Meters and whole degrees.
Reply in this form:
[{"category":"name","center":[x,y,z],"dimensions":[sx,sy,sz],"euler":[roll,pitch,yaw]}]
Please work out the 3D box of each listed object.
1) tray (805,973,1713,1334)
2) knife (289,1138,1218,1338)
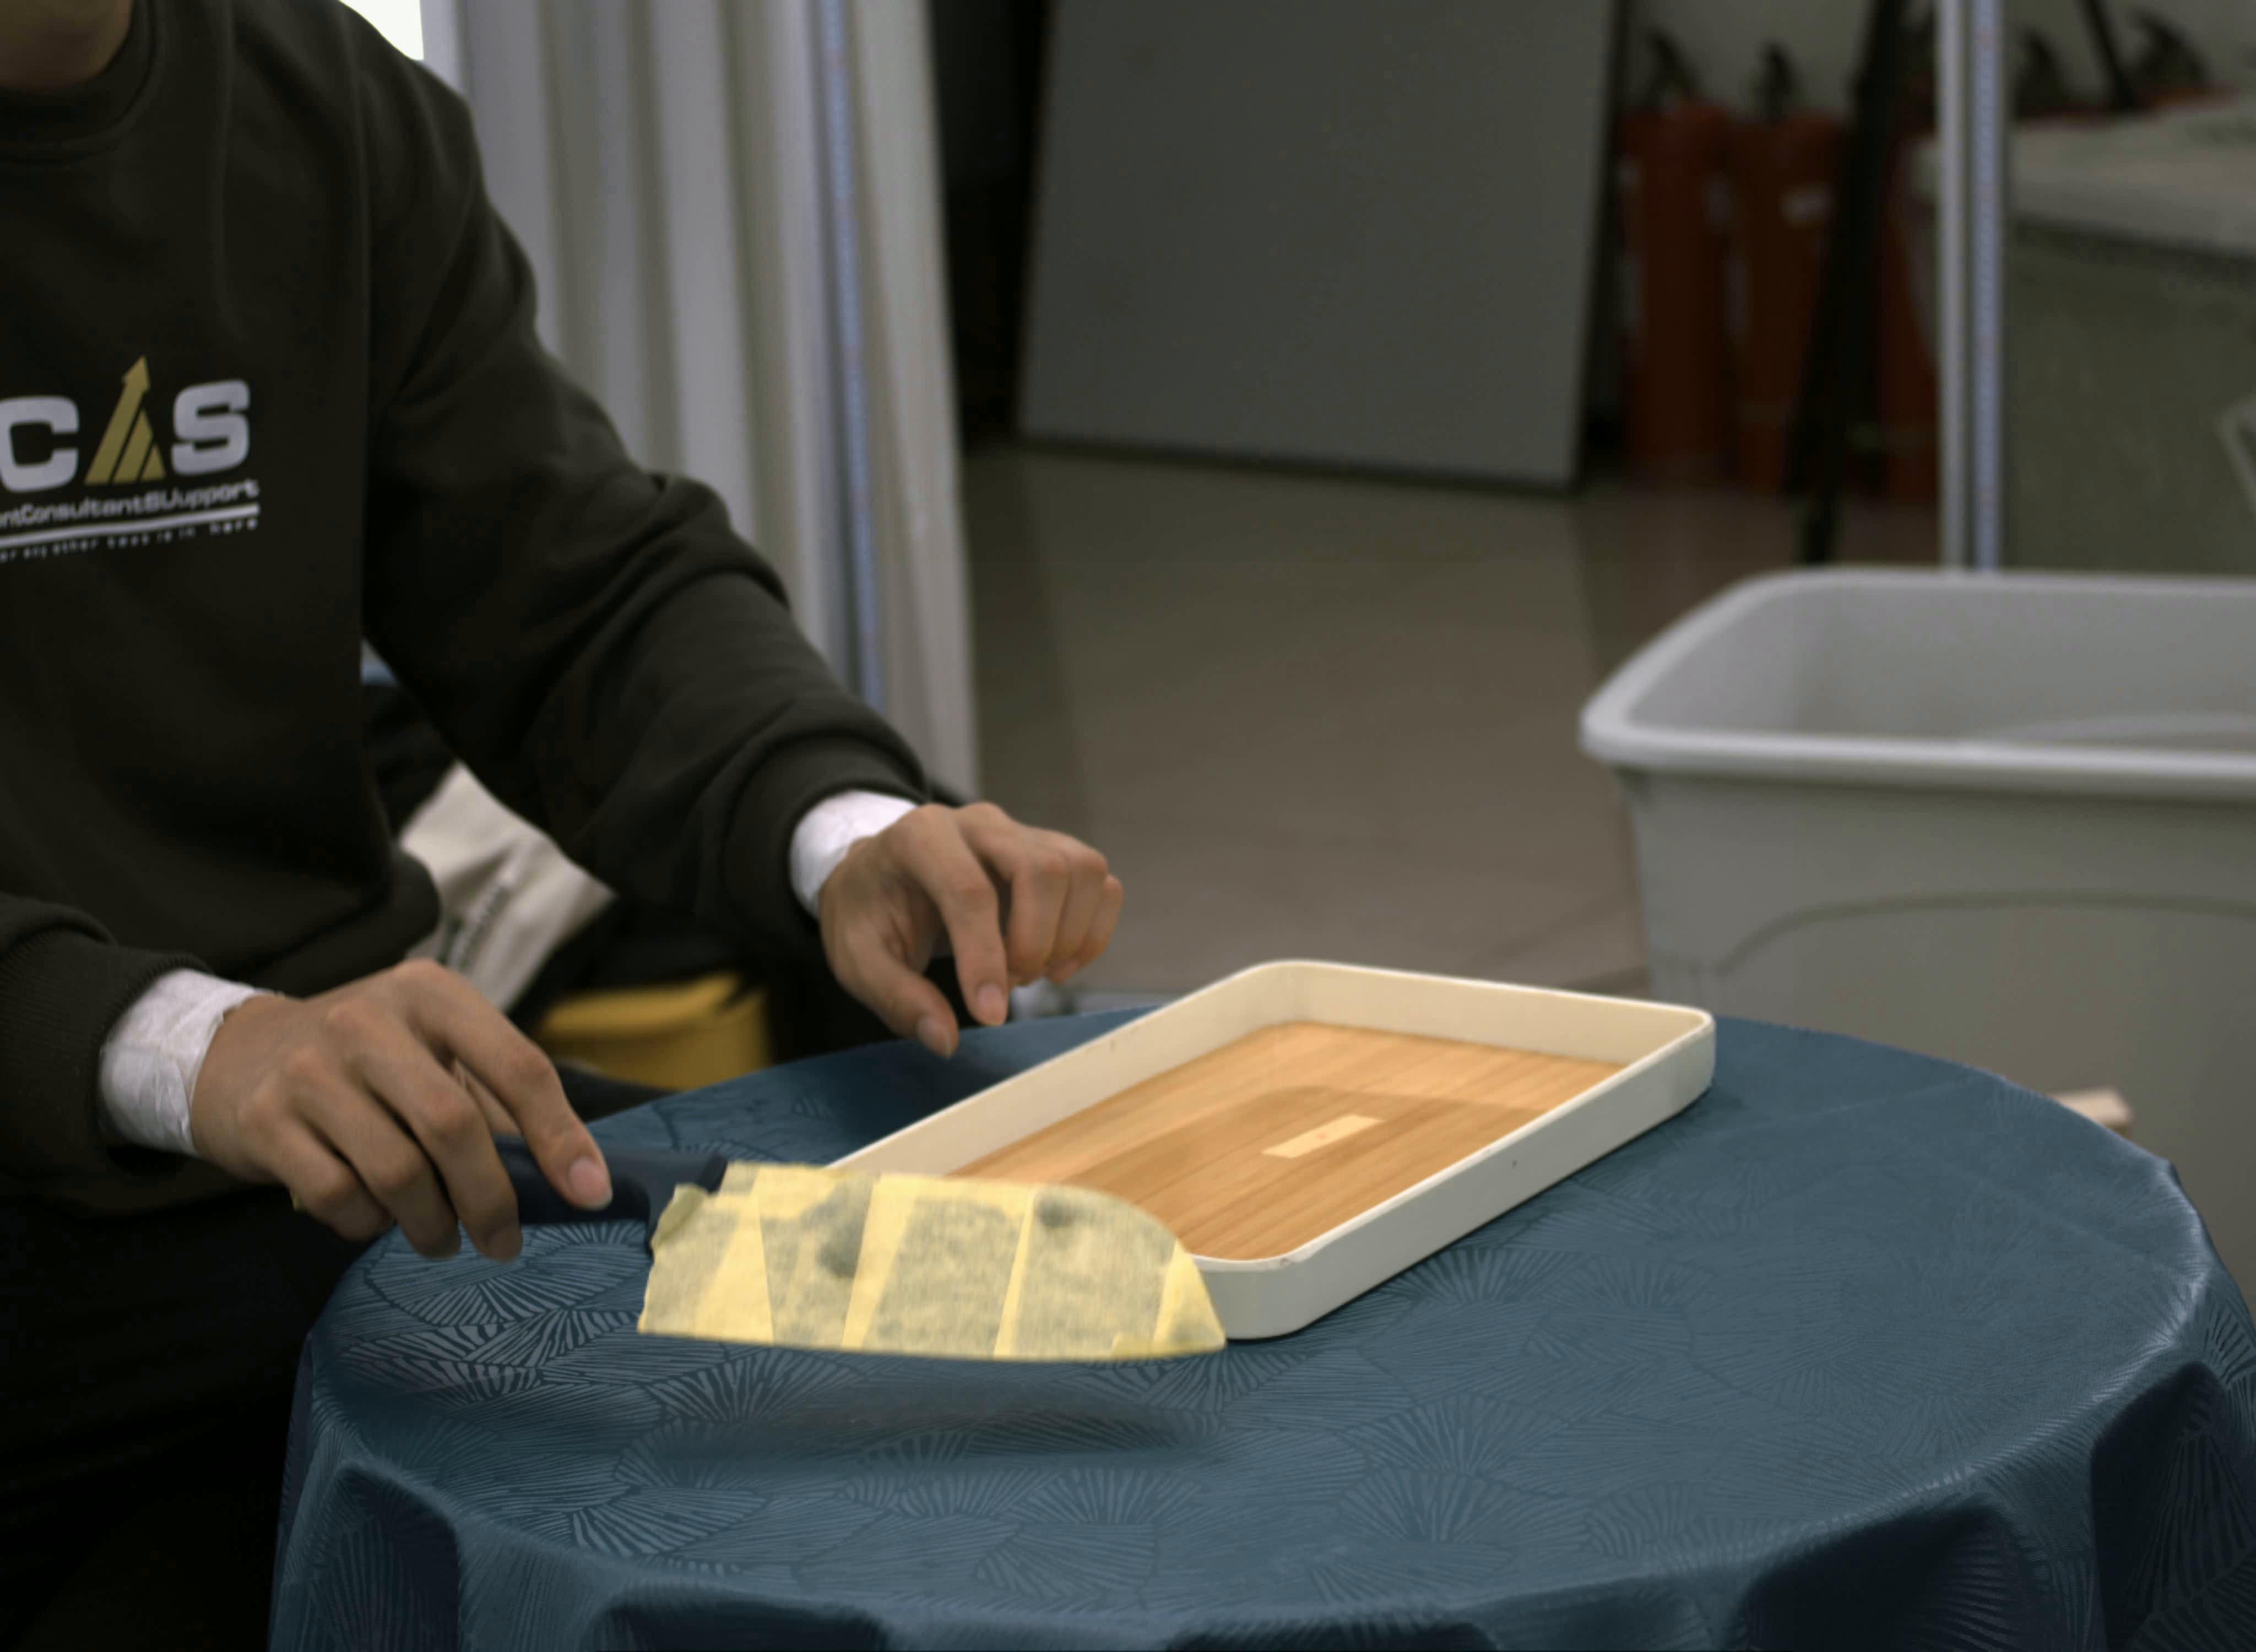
[{"category":"tray","center":[0.047,0.104,1.779],"dimensions":[0.193,0.028,0.295],"euler":[4,15,35]},{"category":"knife","center":[-0.112,0.121,1.582],"dimensions":[0.288,0.027,0.081],"euler":[3,39,13]}]
